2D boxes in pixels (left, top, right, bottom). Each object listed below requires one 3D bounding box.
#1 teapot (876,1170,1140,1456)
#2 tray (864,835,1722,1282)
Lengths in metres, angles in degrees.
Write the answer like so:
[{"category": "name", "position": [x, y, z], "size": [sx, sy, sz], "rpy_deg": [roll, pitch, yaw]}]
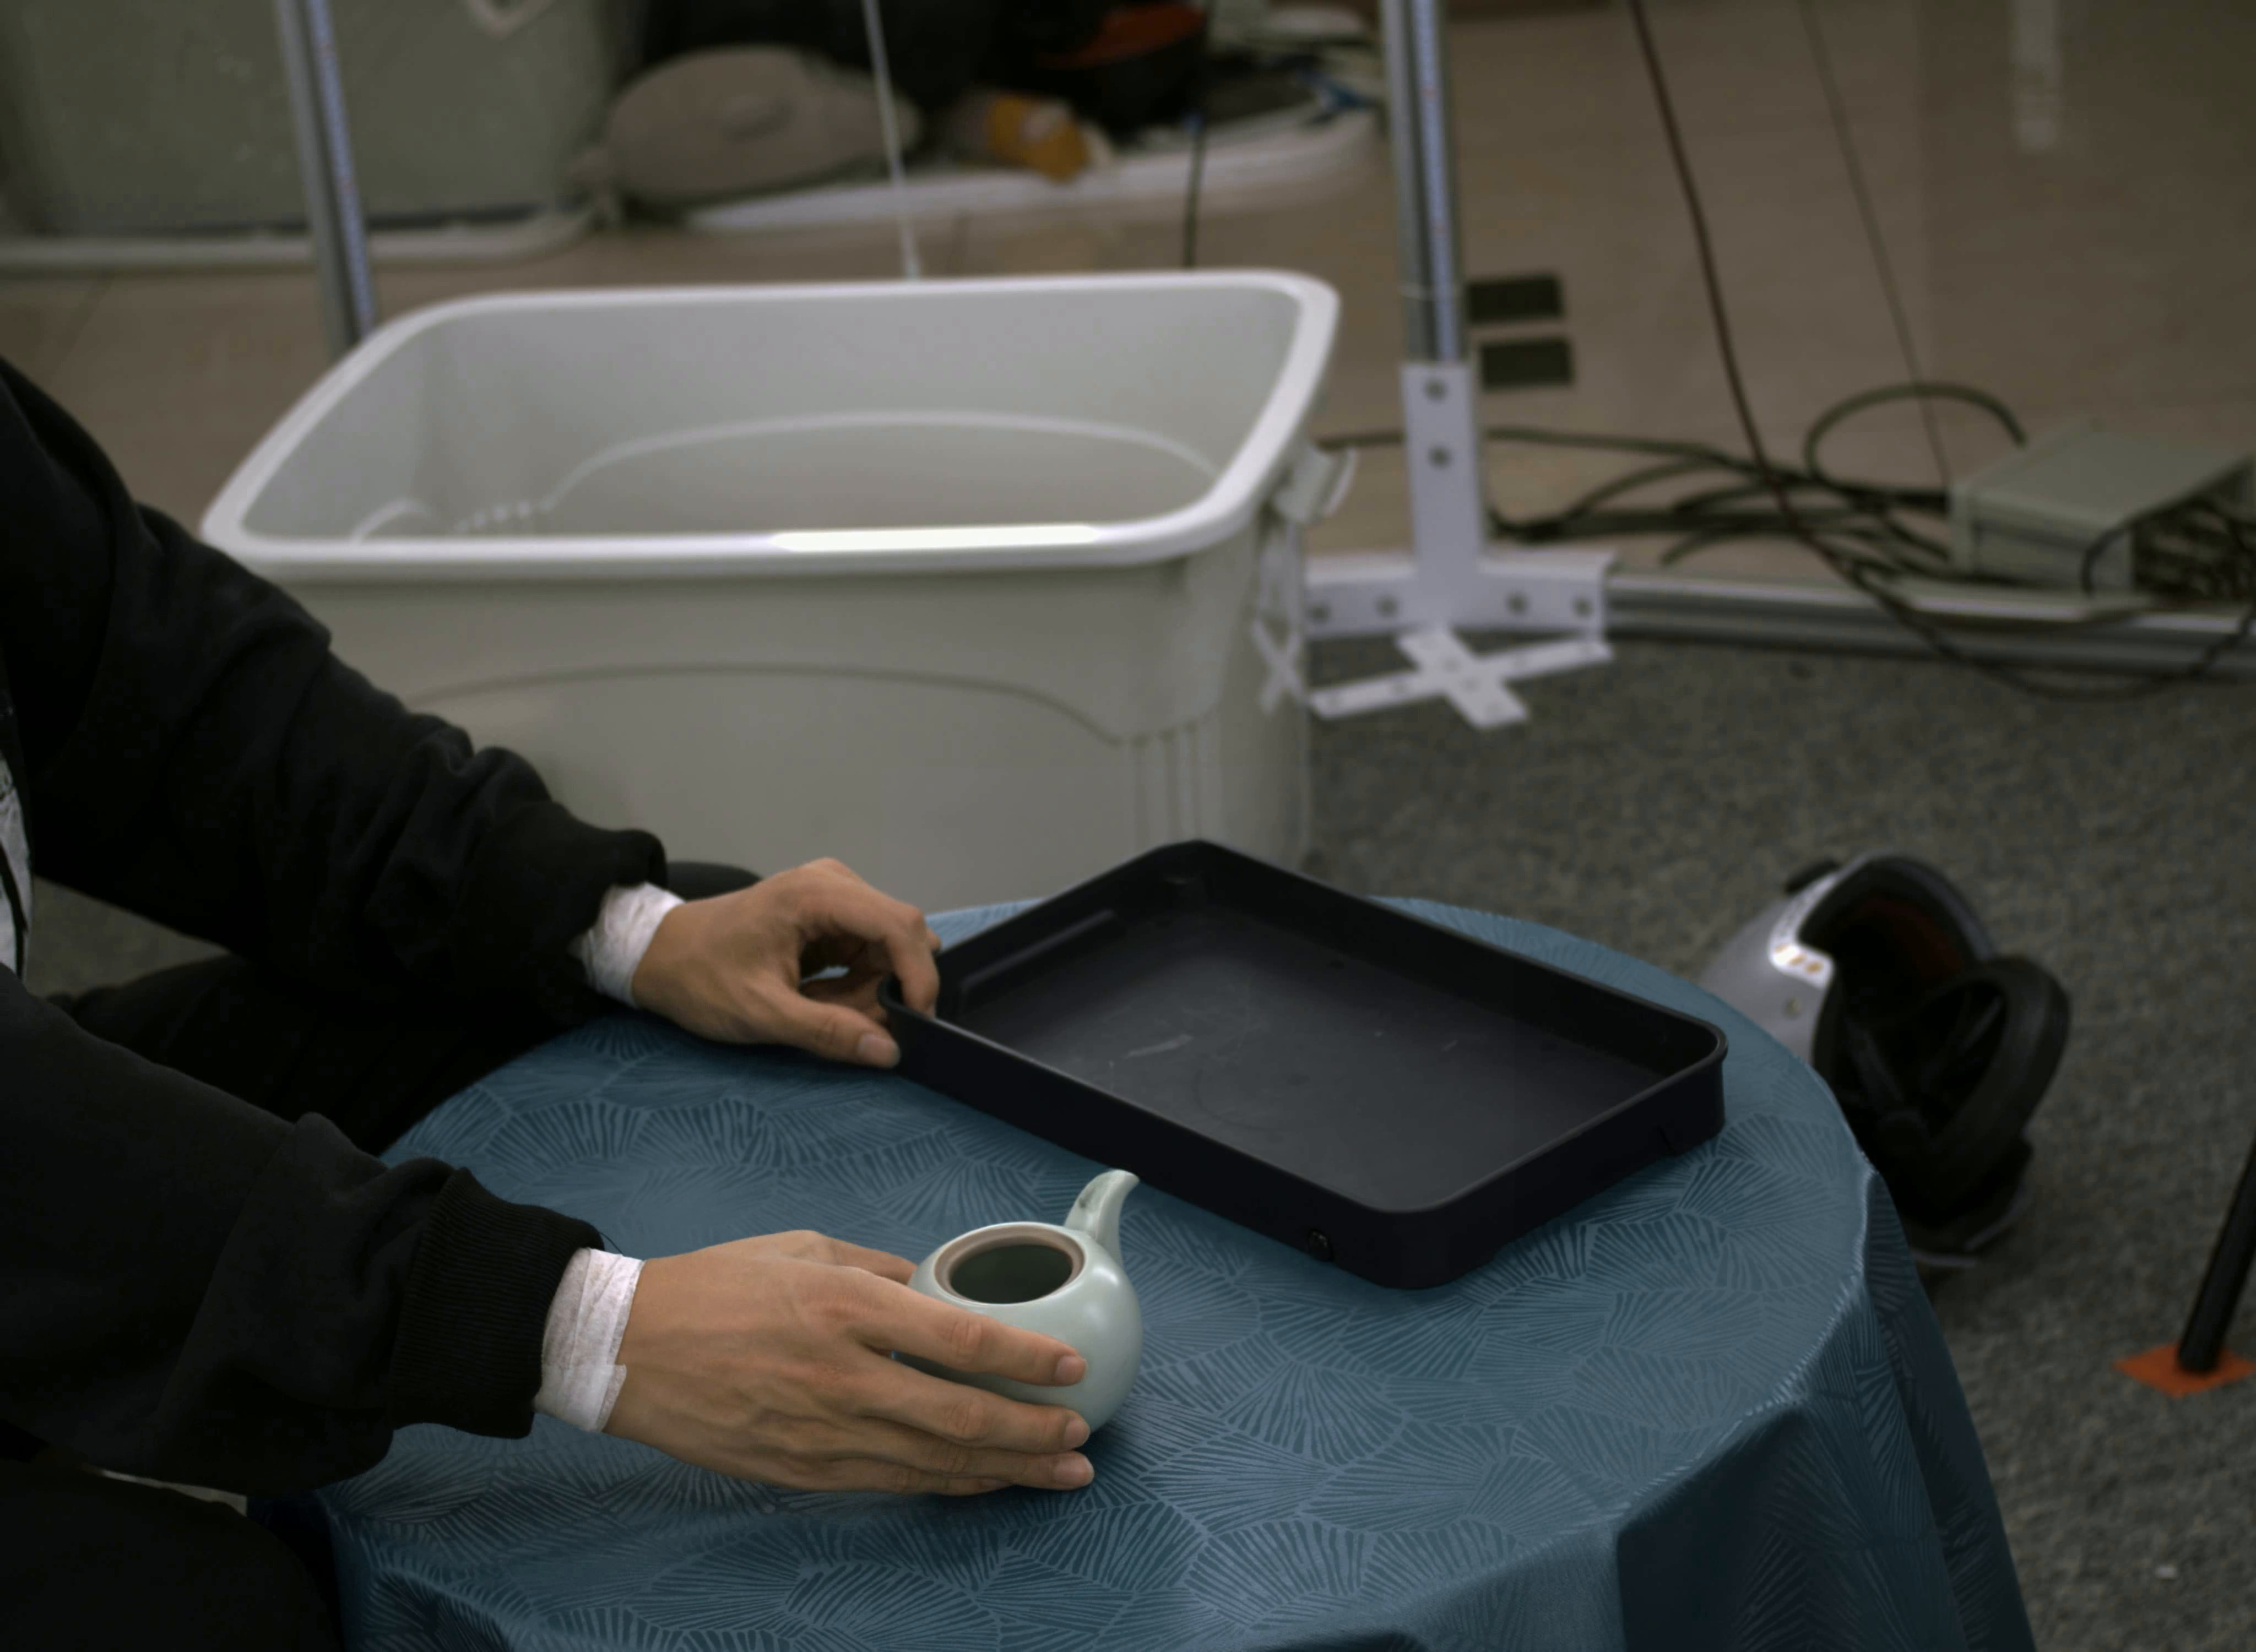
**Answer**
[{"category": "teapot", "position": [-0.040, 0.179, 1.986], "size": [0.088, 0.076, 0.142], "rpy_deg": [15, 31, 35]}, {"category": "tray", "position": [0.061, 0.086, 2.207], "size": [0.183, 0.037, 0.315], "rpy_deg": [-27, 32, -37]}]
